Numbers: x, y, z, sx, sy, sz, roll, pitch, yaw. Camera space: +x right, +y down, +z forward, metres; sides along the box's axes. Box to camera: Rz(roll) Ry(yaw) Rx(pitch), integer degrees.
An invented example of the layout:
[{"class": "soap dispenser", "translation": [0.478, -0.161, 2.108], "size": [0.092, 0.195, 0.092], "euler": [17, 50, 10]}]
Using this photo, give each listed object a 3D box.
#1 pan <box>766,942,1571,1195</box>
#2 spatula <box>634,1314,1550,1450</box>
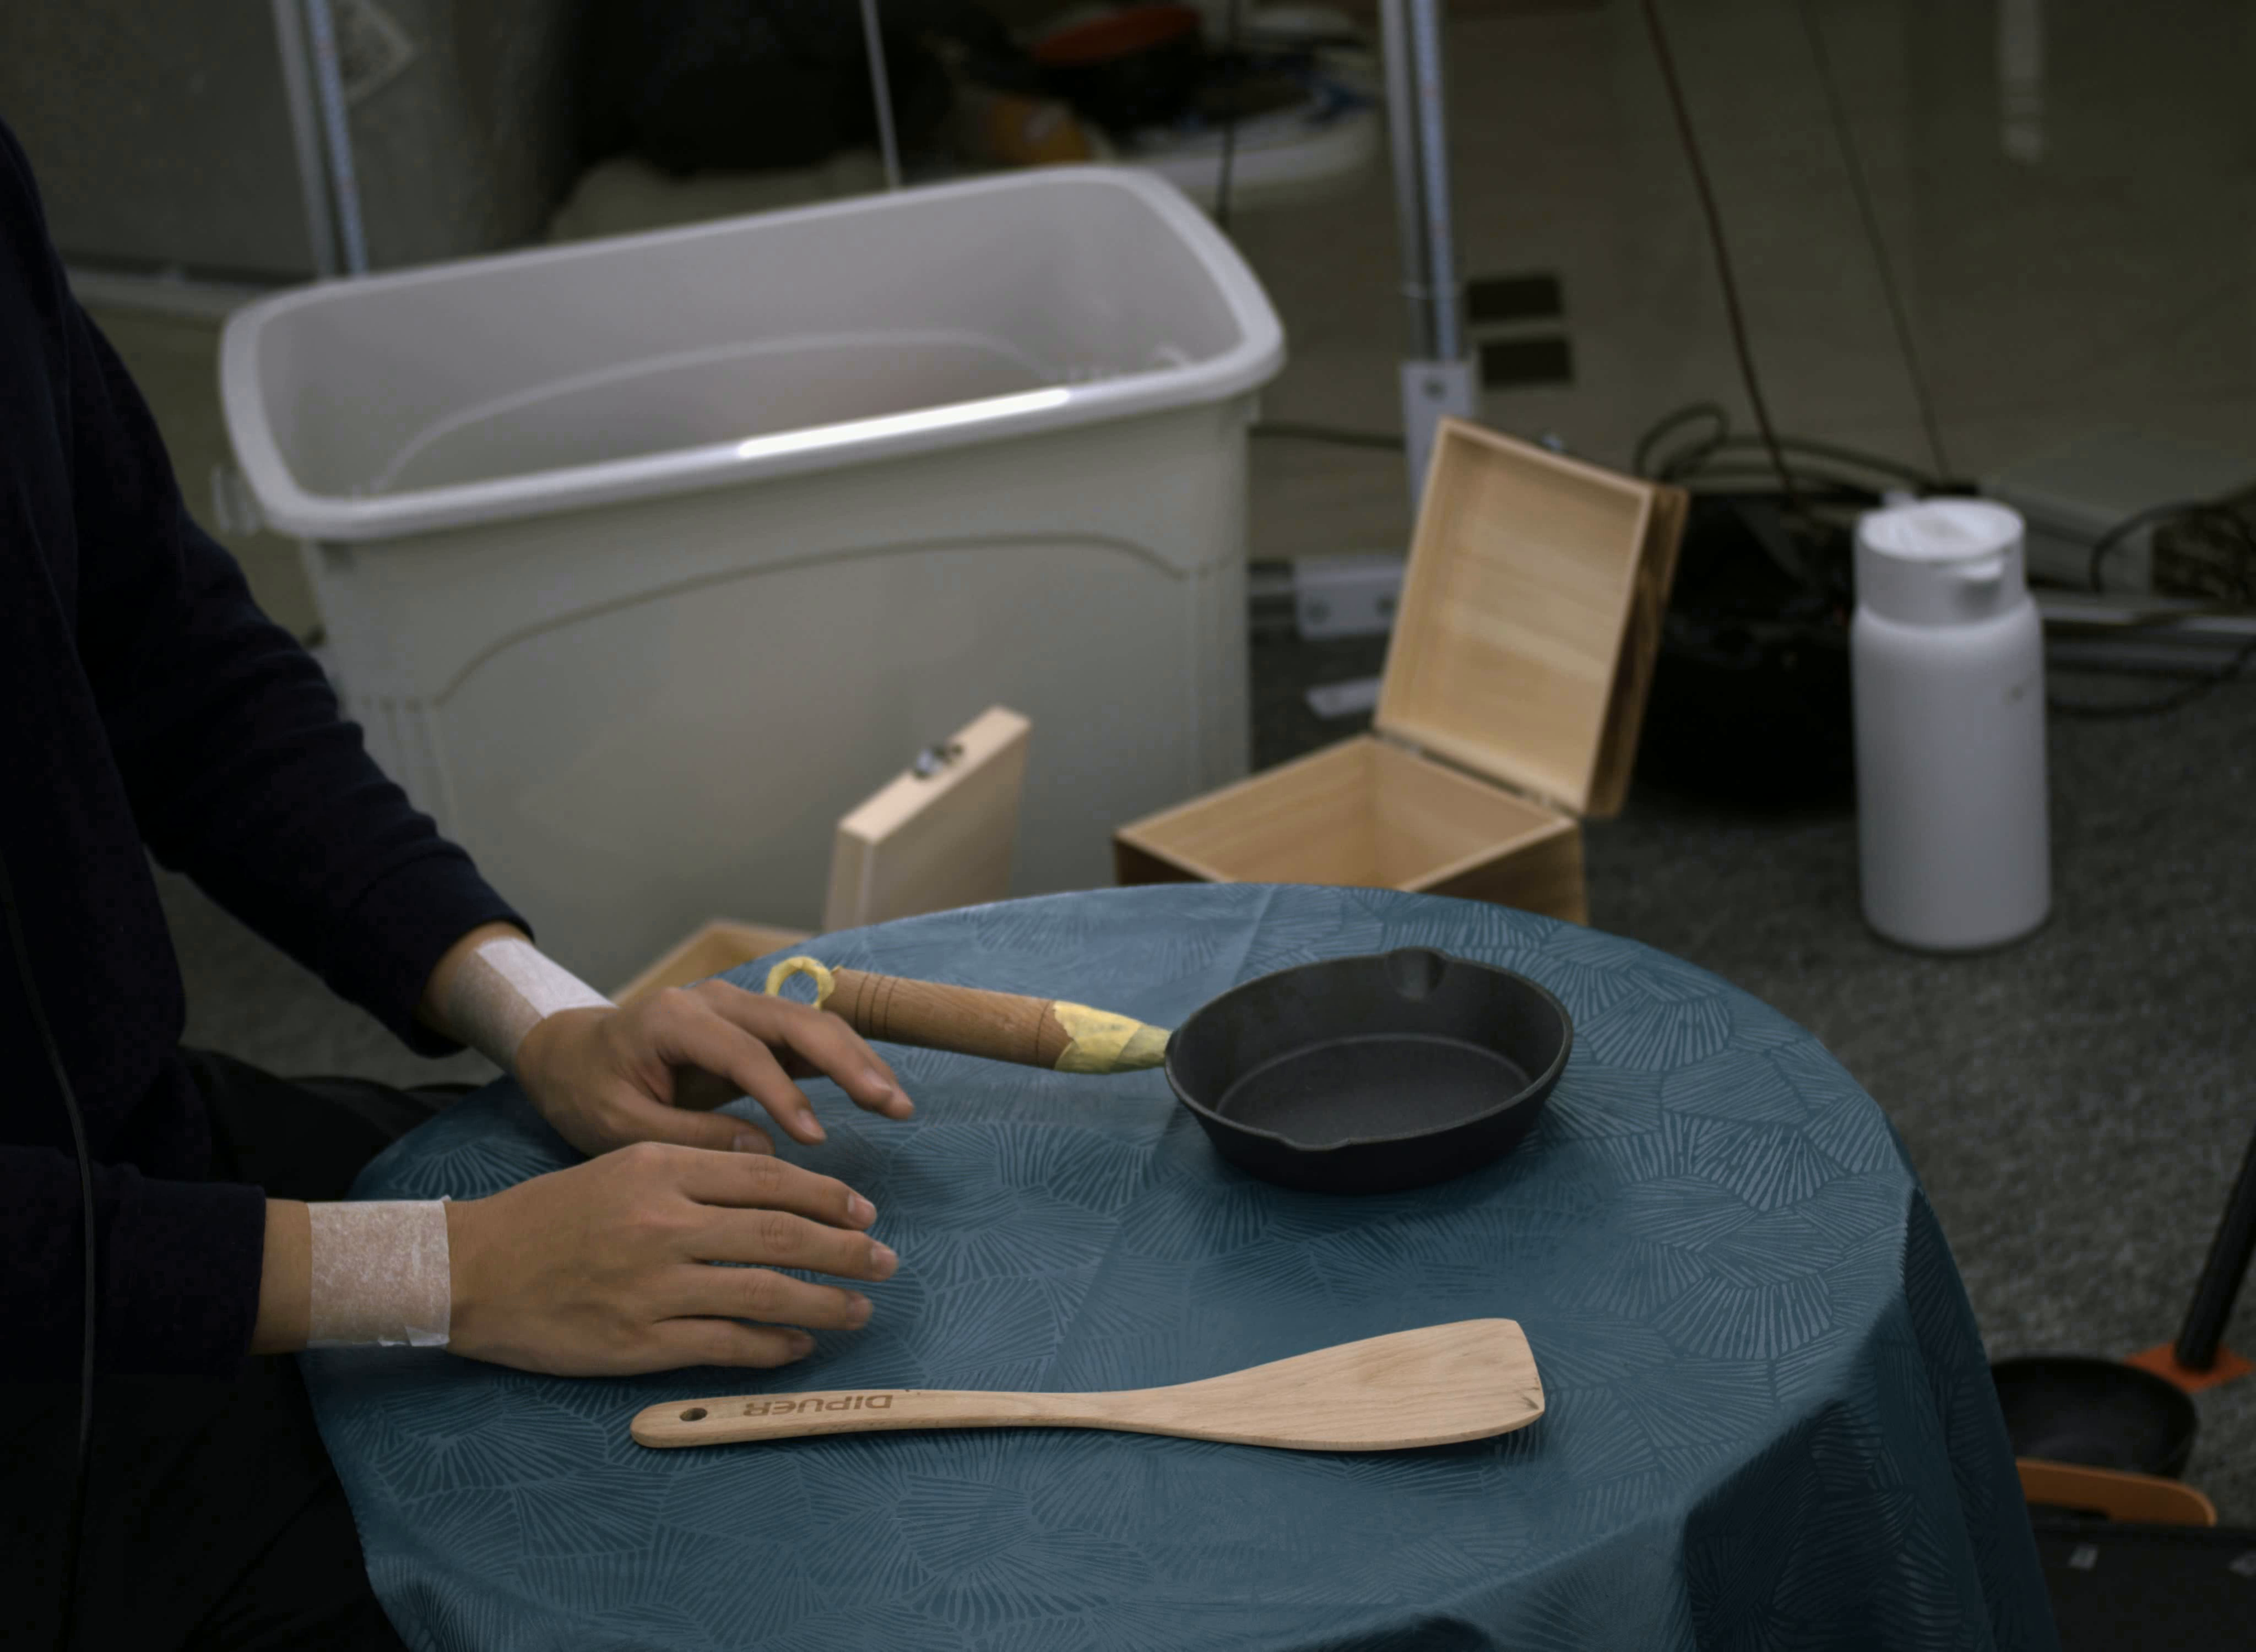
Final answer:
[{"class": "pan", "translation": [0.013, 0.086, 2.197], "size": [0.323, 0.050, 0.166], "euler": [4, 27, 19]}, {"class": "spatula", "translation": [-0.014, 0.201, 1.999], "size": [0.327, 0.017, 0.079], "euler": [-3, 24, 7]}]
